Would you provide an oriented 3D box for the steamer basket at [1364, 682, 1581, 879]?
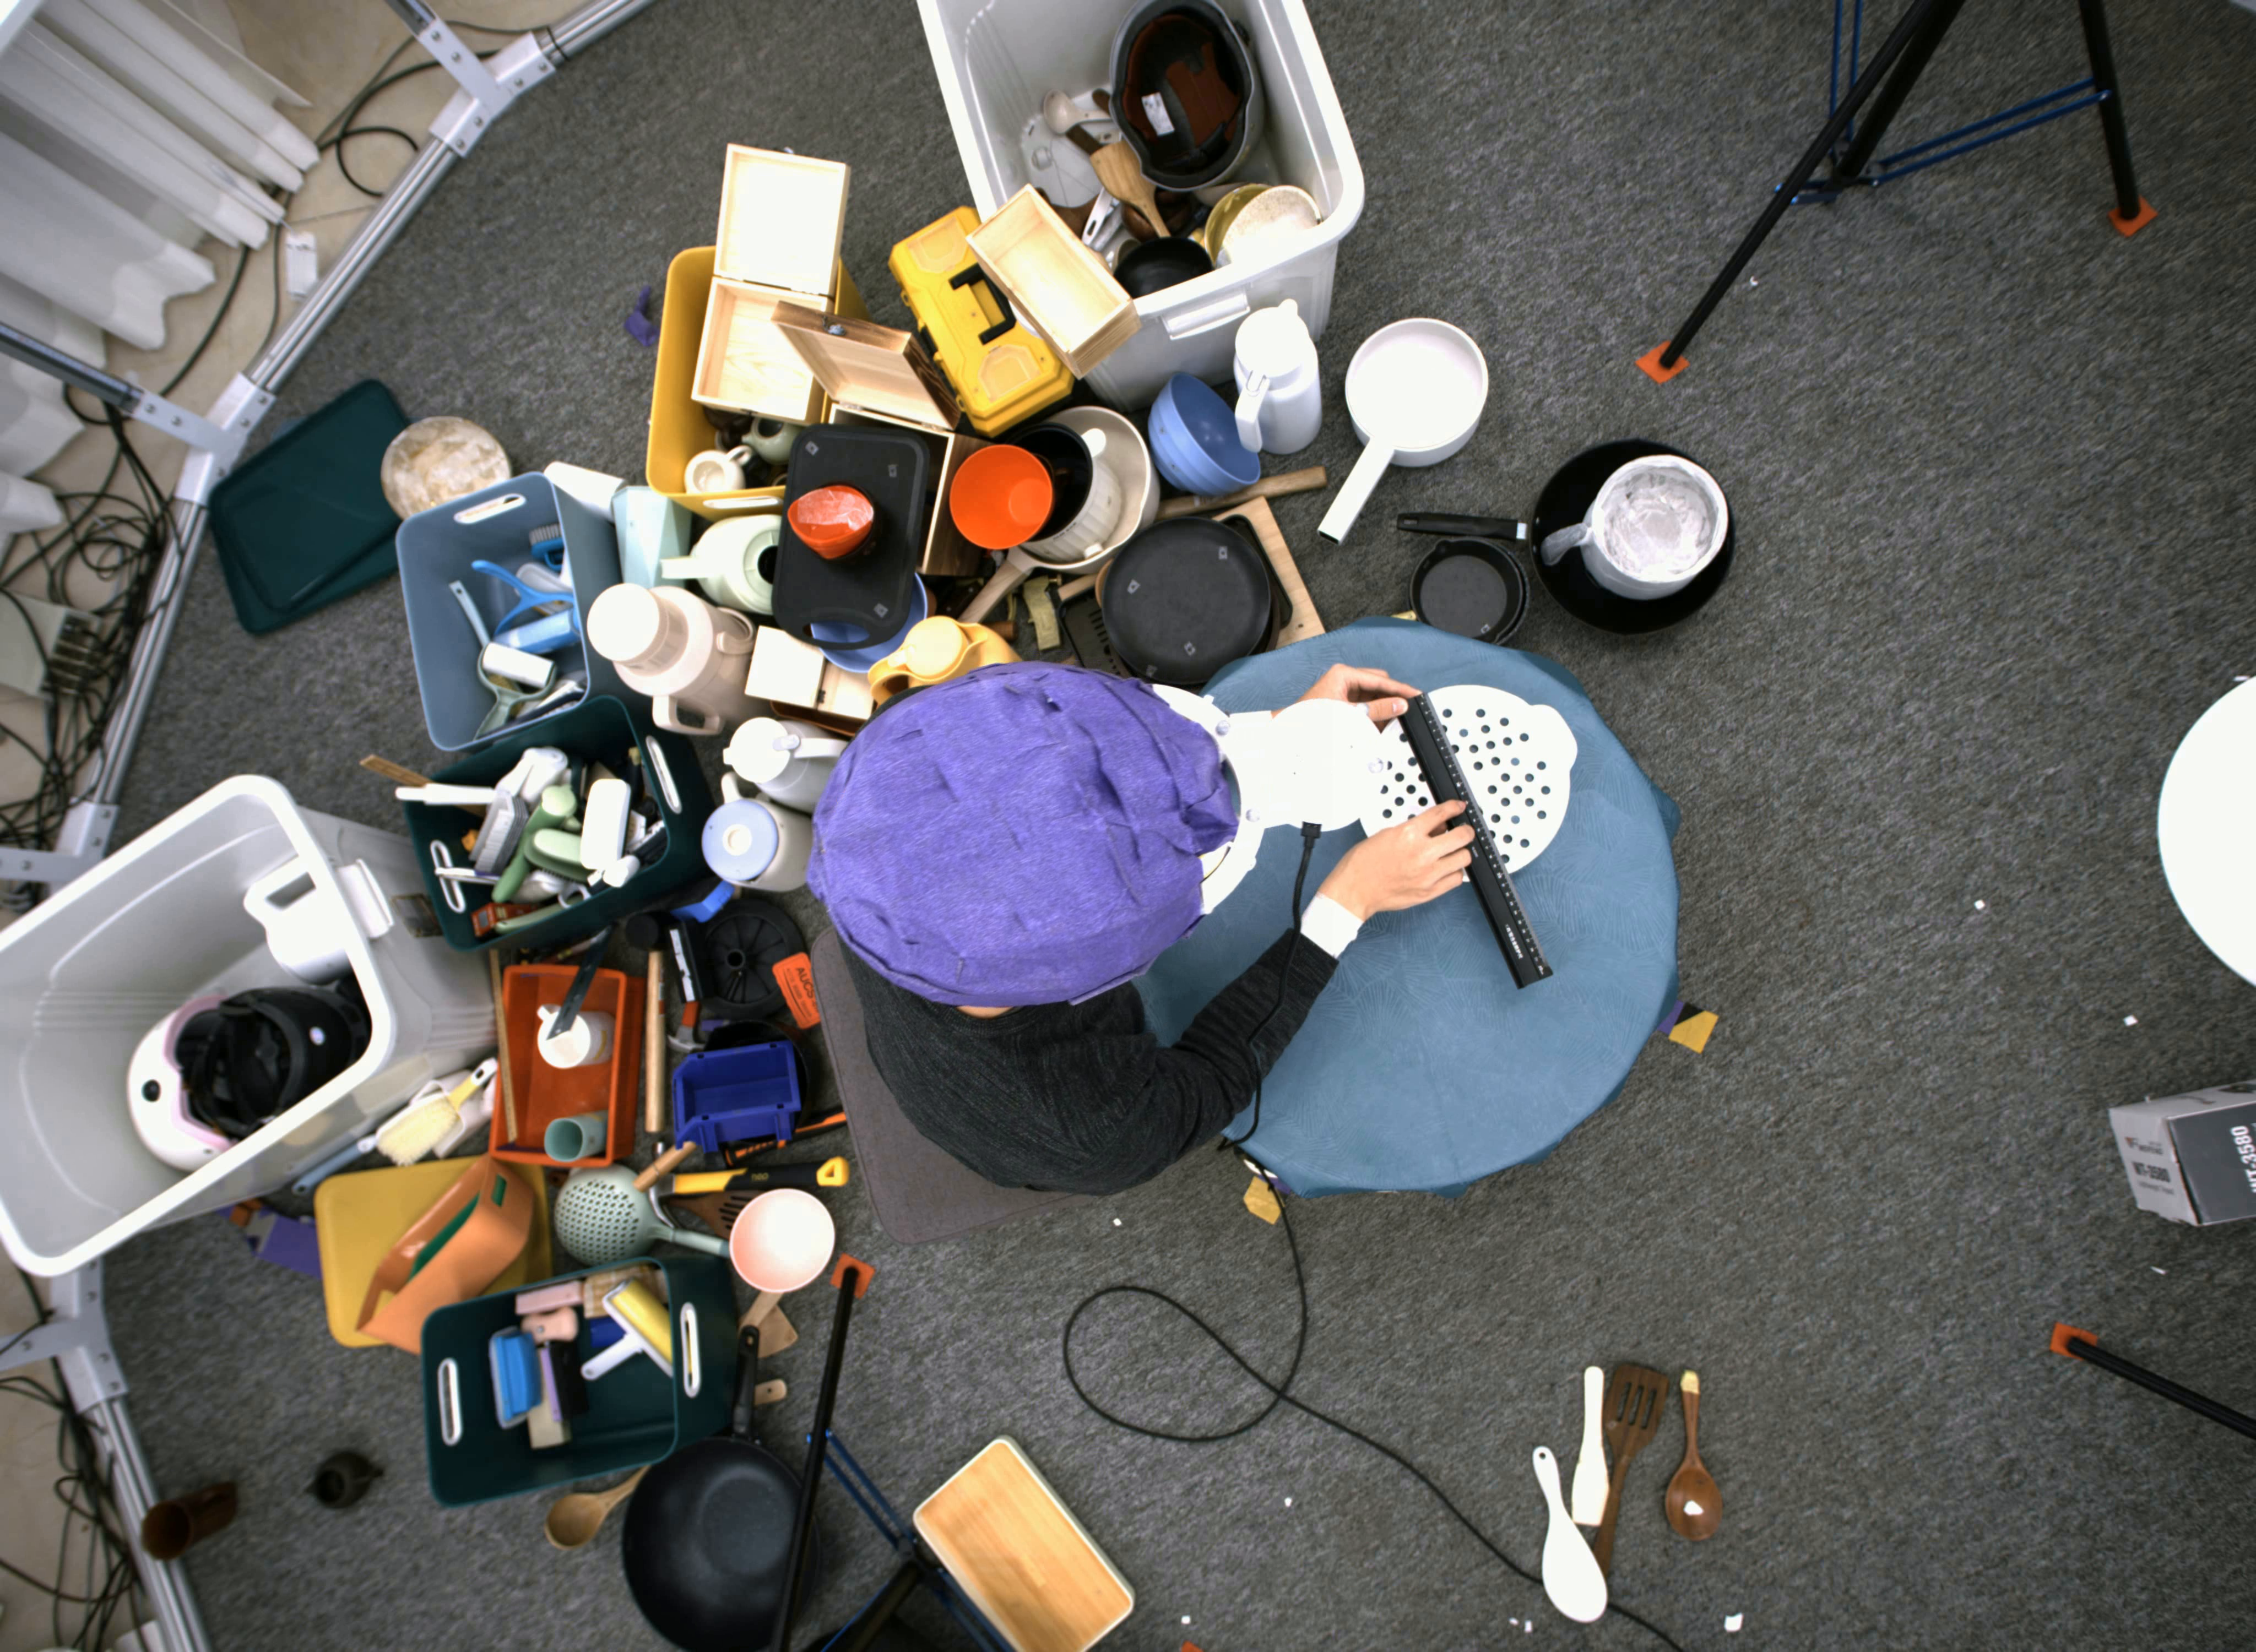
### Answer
[{"bbox_3d":[0.353,-0.046,1.416,0.231,0.069,0.200,-30,82,5],"label":"steamer basket"}]

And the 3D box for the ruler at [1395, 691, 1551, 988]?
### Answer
[{"bbox_3d":[0.346,0.009,1.374,0.039,0.017,0.310,-22,83,4],"label":"ruler"}]
